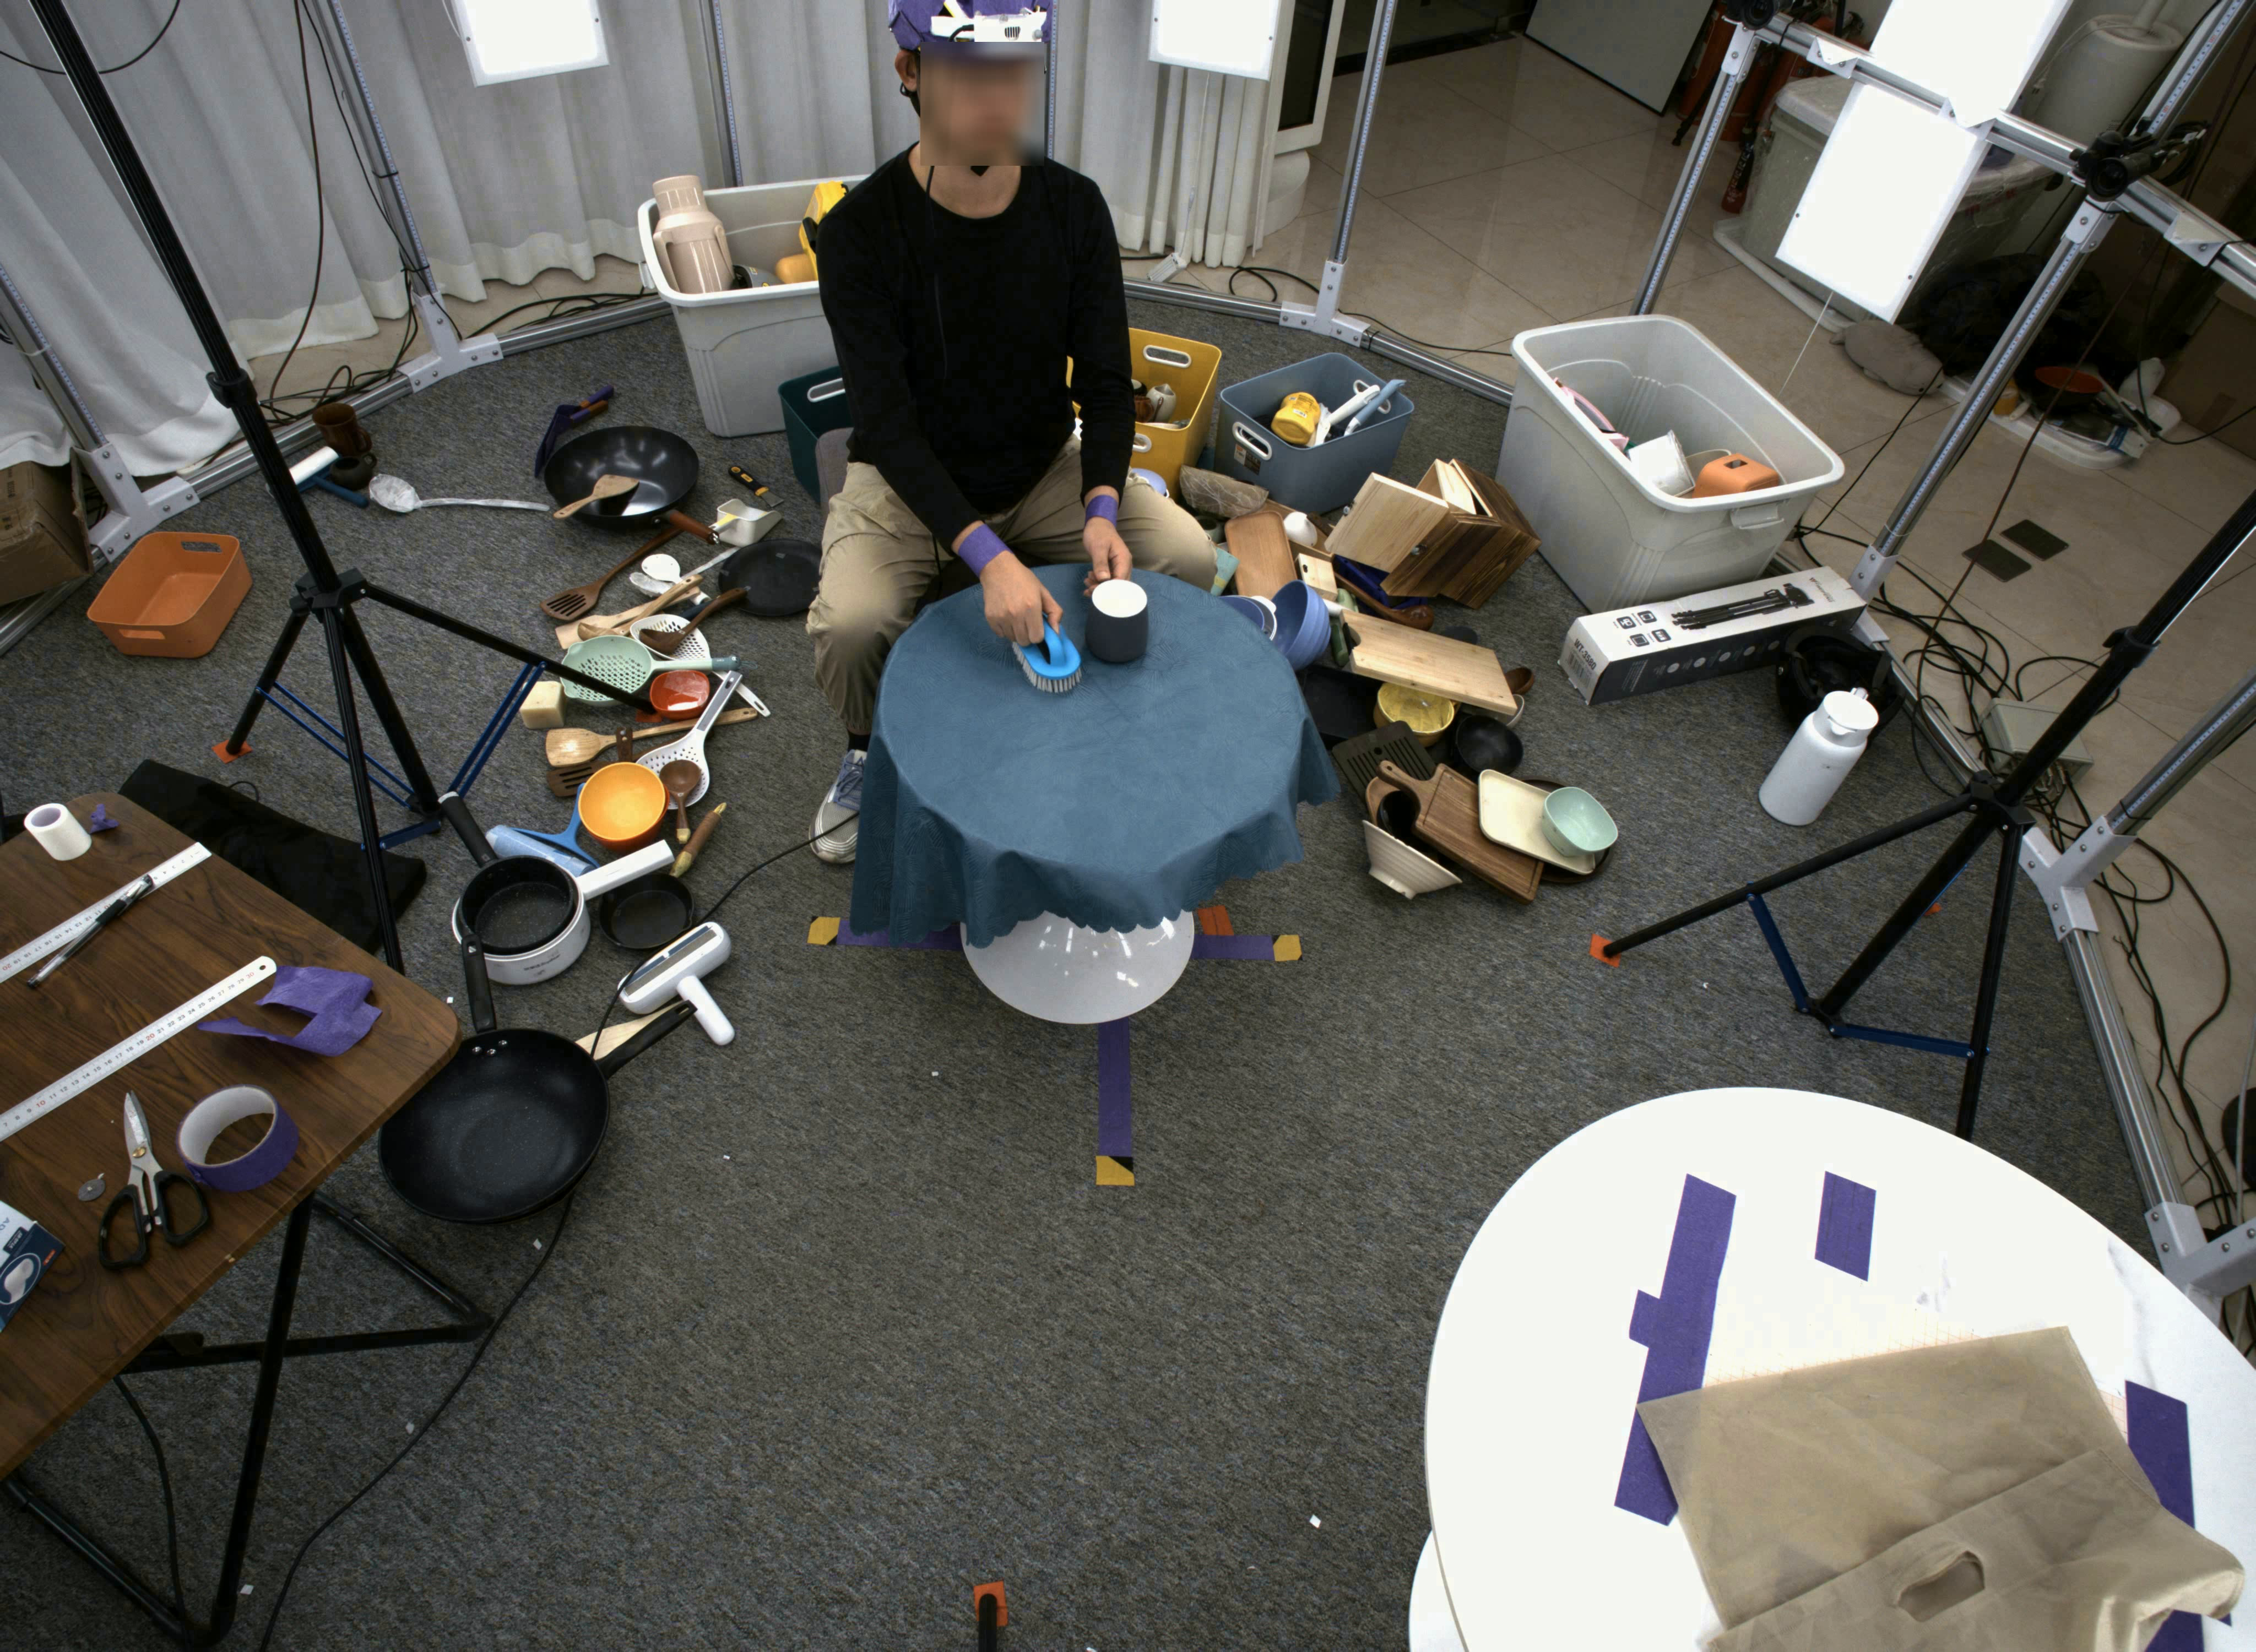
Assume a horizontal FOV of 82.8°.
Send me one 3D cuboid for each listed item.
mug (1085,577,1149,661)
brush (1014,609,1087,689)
[{"bbox_3d":[-0.019,-0.310,1.873,0.093,0.088,0.126,-10,52,-14],"label":"mug"},{"bbox_3d":[-0.114,-0.265,1.845,0.084,0.062,0.145,-18,52,-13],"label":"brush"}]
